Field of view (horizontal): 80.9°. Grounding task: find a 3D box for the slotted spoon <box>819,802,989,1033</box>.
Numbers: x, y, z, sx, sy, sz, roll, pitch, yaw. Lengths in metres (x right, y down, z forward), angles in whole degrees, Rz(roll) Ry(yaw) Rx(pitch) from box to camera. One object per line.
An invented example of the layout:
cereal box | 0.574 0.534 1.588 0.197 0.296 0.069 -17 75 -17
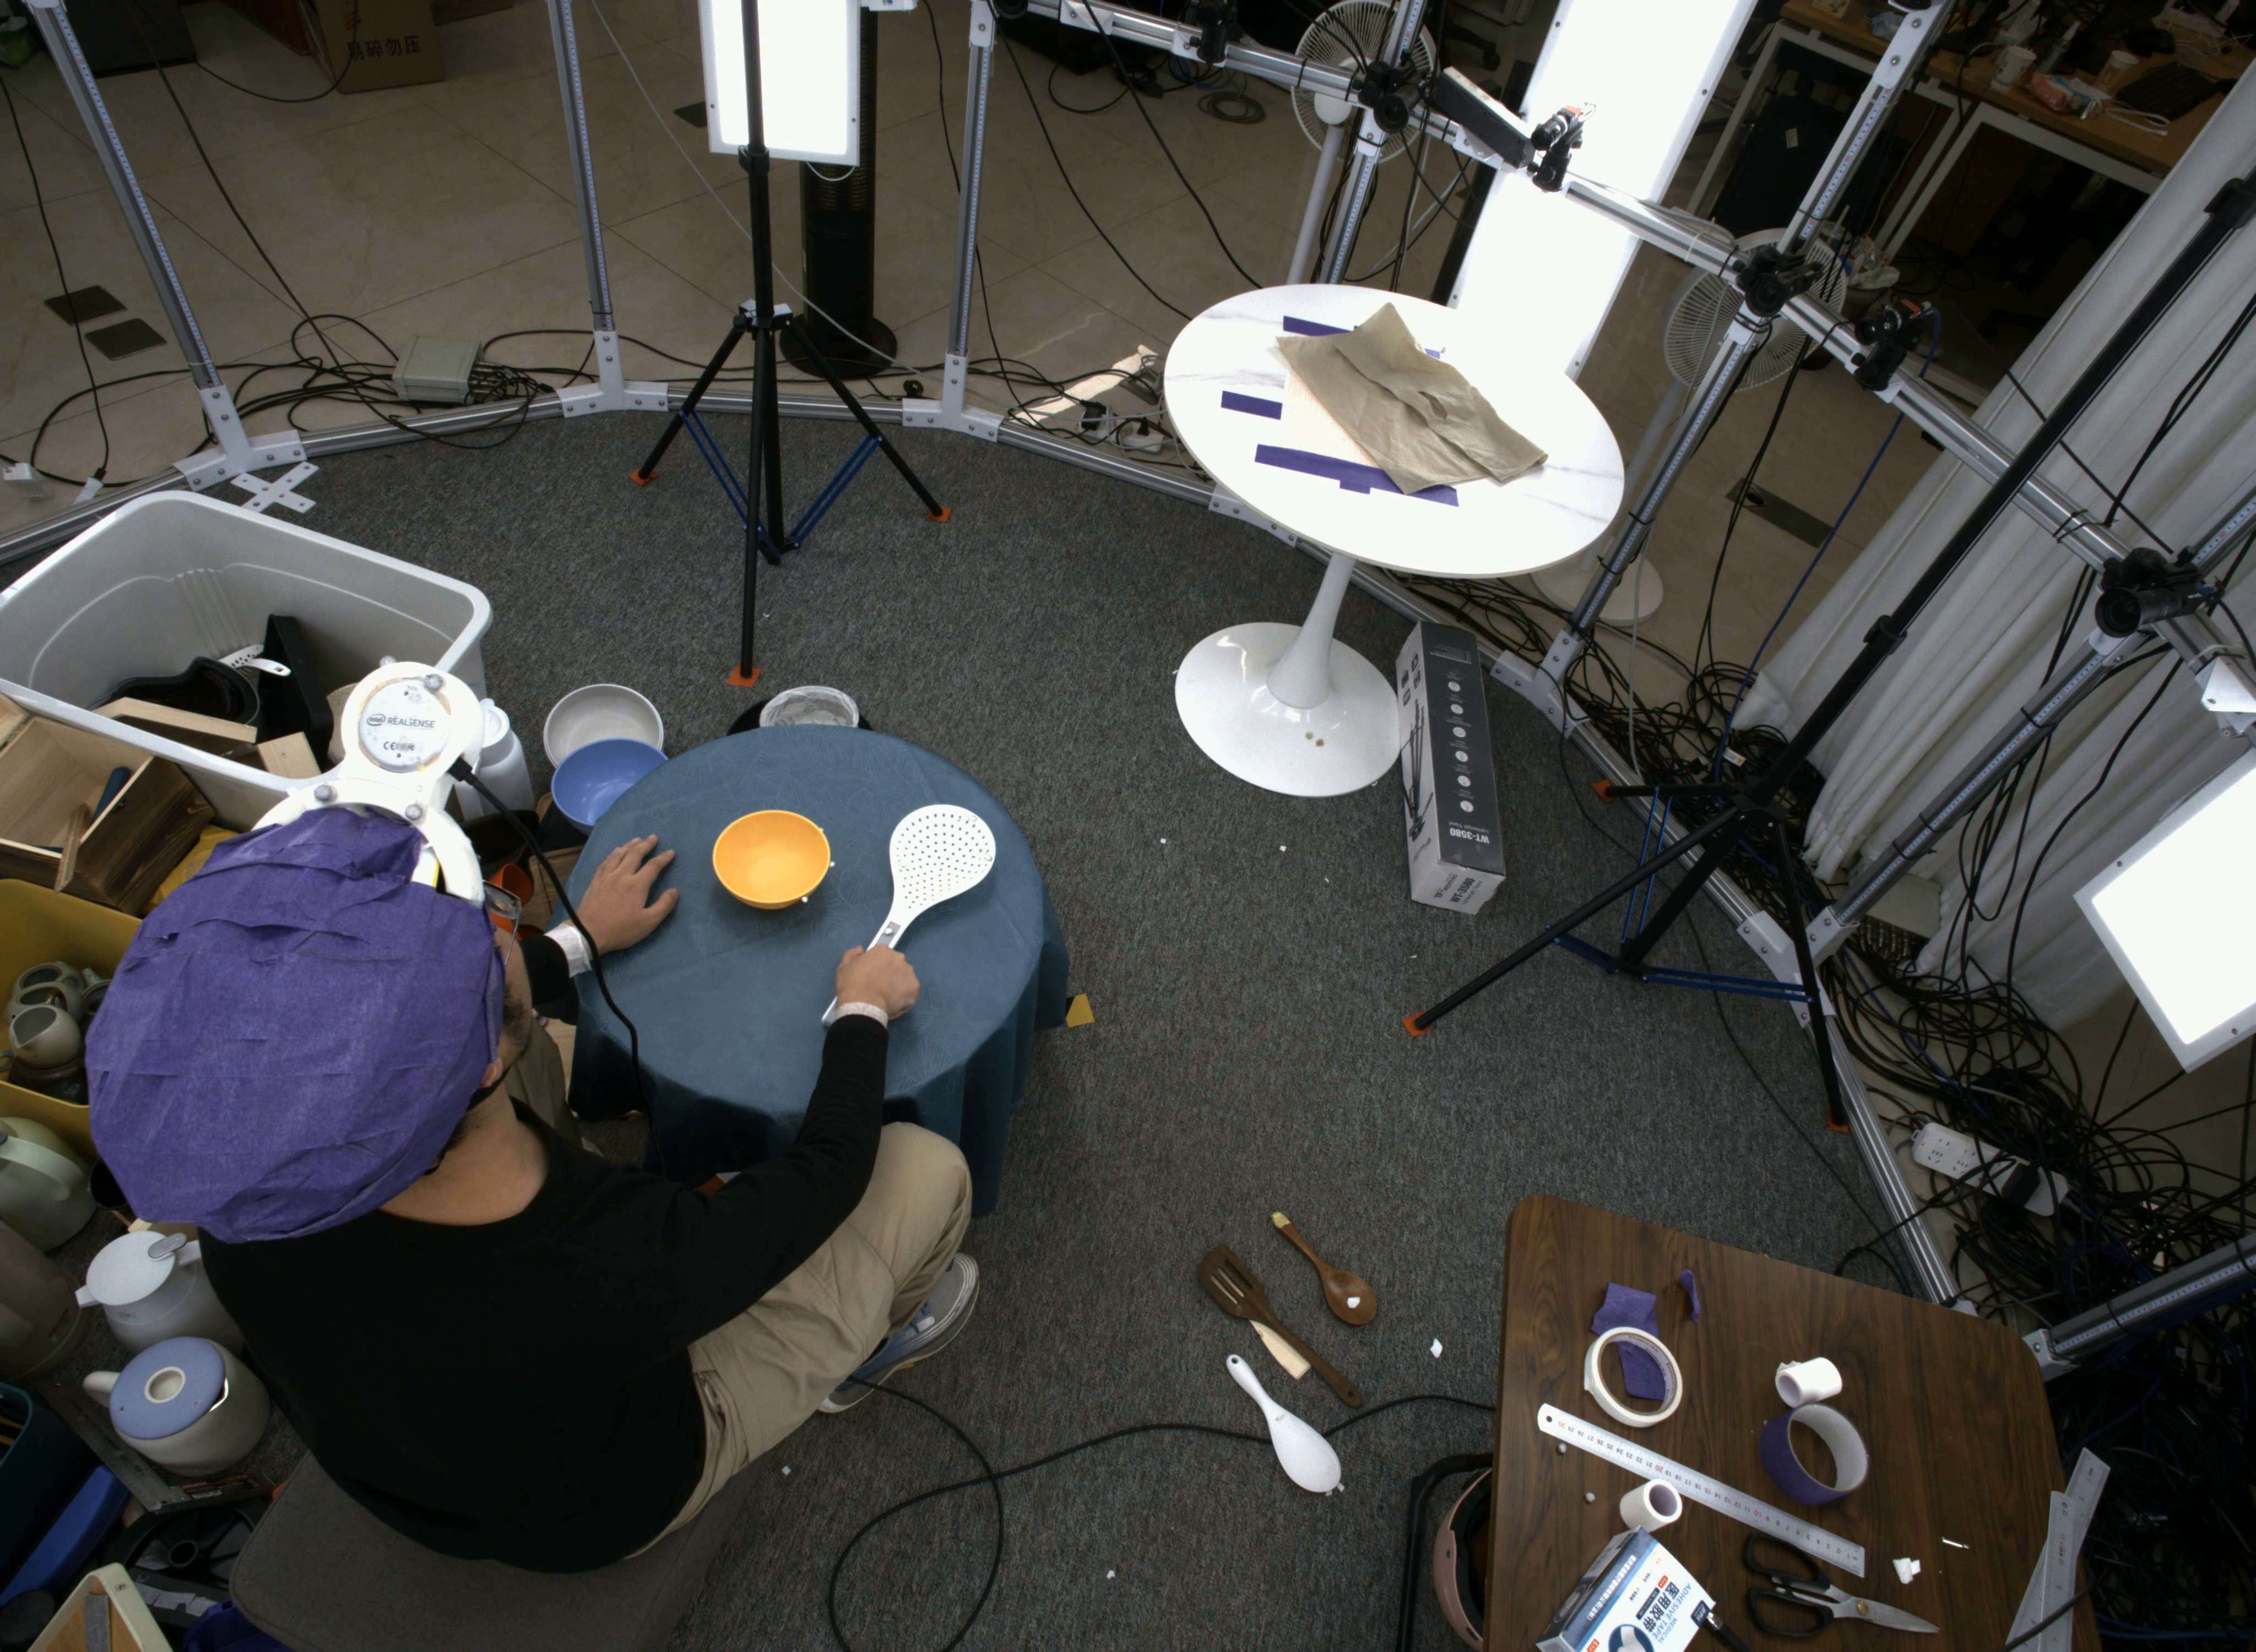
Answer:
slotted spoon | -0.291 0.110 1.642 0.134 0.046 0.347 25 53 3

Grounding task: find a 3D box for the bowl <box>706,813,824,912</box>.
bowl | -0.456 0.055 1.633 0.145 0.061 0.142 7 51 -7
